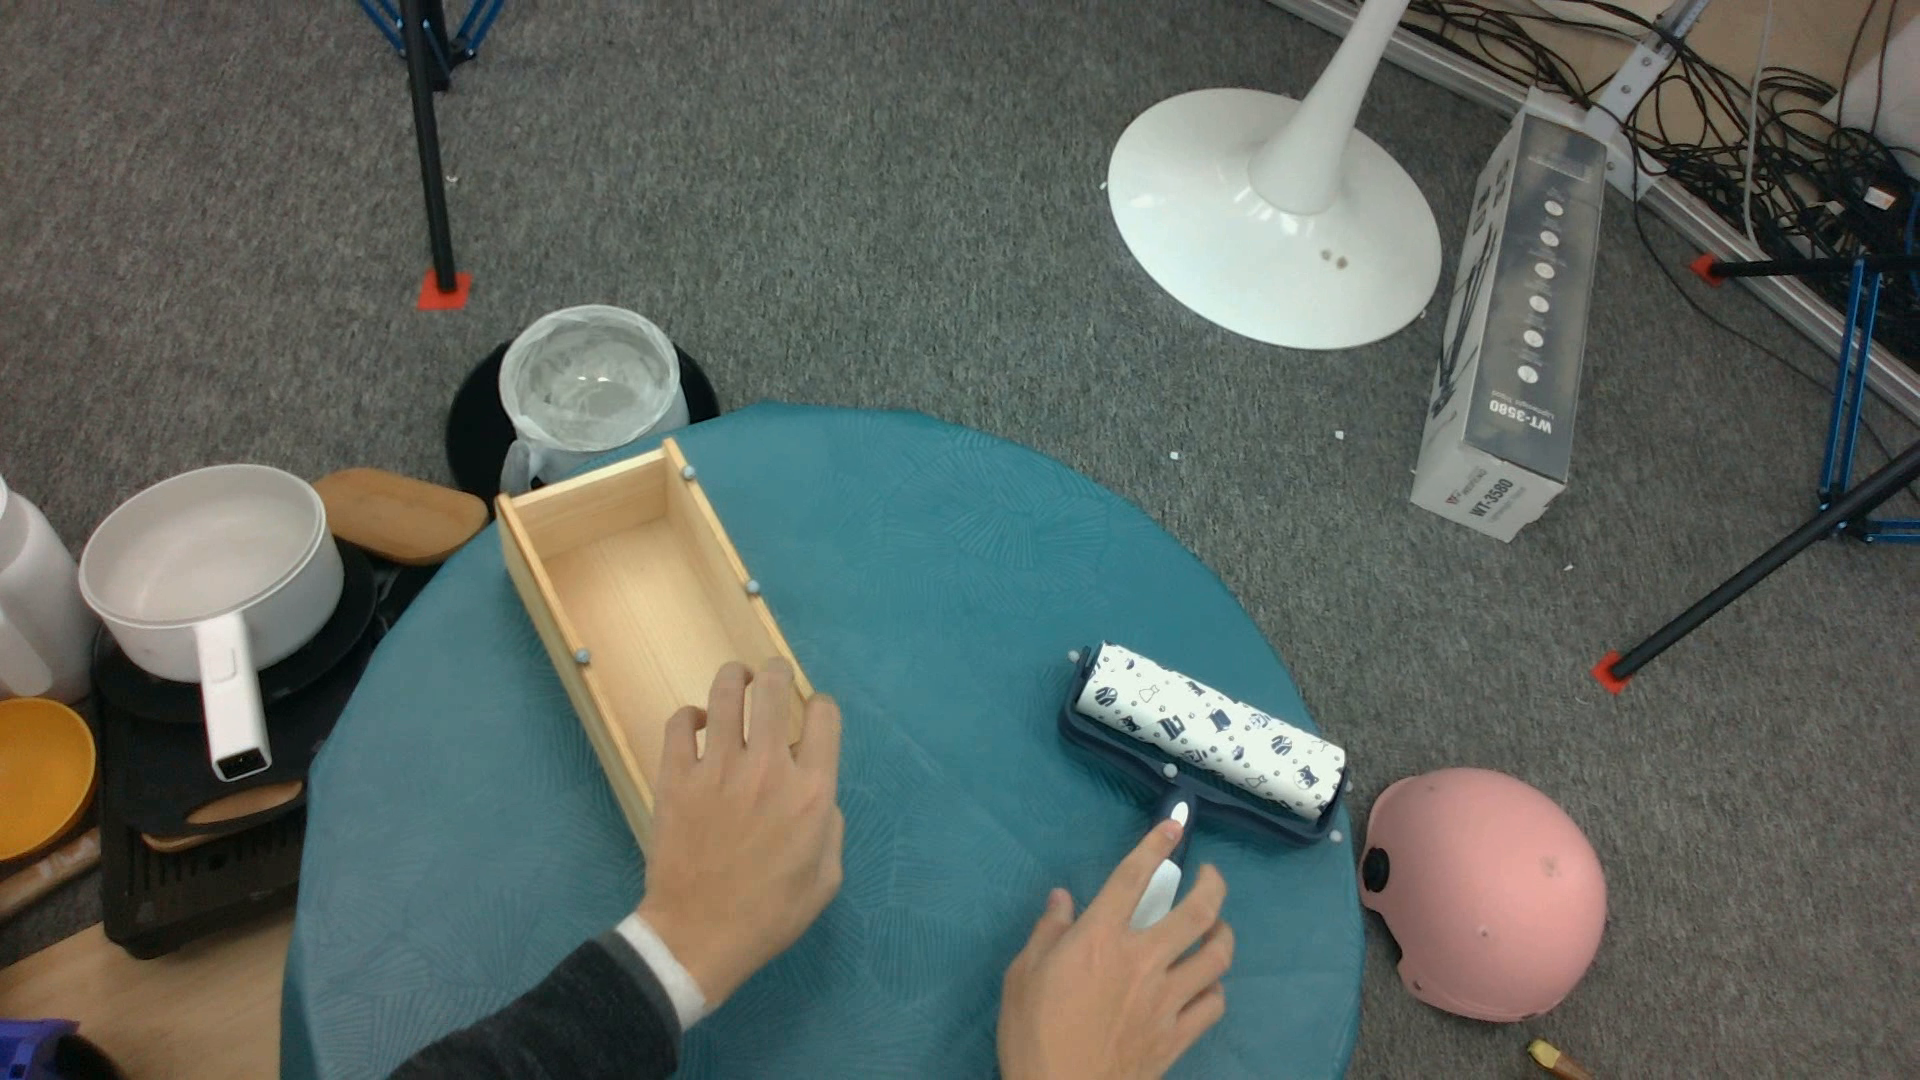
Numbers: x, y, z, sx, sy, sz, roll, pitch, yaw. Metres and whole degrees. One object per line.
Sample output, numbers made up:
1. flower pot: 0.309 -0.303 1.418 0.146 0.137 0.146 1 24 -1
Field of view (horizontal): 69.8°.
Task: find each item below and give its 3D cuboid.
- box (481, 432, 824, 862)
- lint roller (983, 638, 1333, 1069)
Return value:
1. box: -0.176 0.057 0.779 0.108 0.080 0.212 -24 67 -25
2. lint roller: 0.088 0.187 0.775 0.176 0.050 0.248 33 56 10
